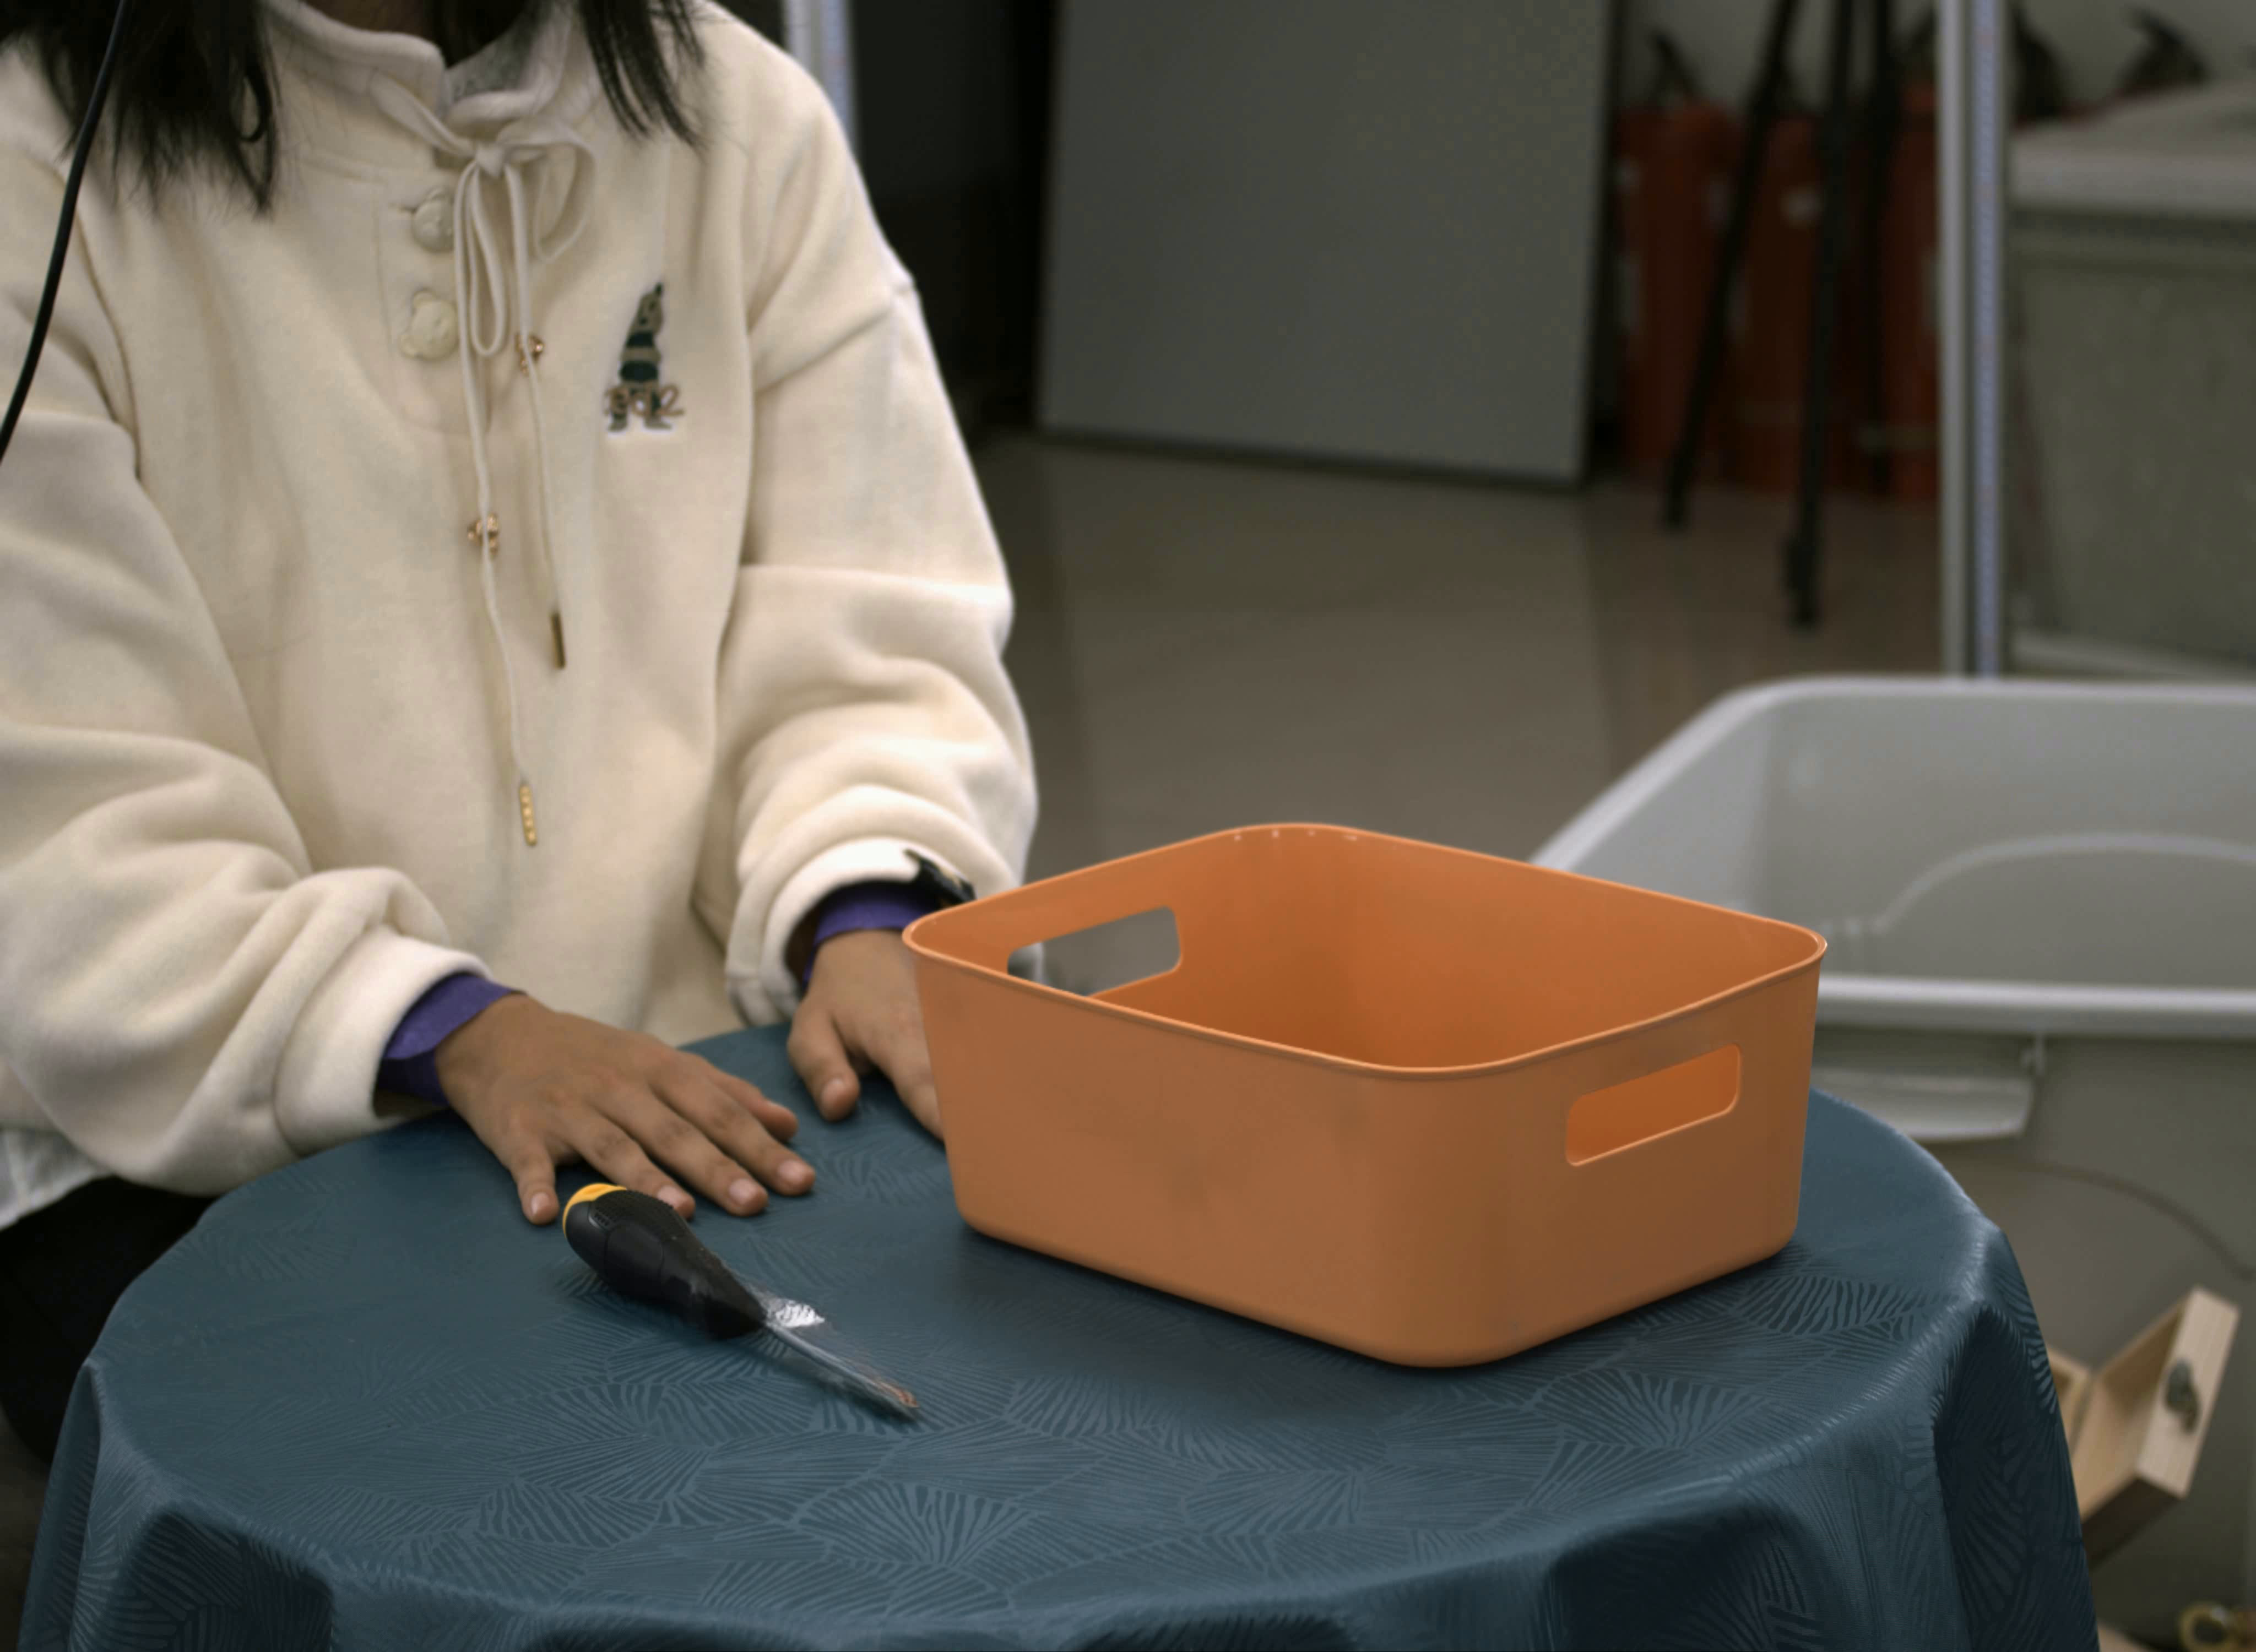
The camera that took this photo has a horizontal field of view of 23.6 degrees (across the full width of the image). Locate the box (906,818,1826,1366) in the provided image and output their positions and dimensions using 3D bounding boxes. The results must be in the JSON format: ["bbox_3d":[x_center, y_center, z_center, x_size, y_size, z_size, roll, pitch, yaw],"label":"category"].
[{"bbox_3d":[0.075,0.080,1.695,0.195,0.103,0.276,-16,18,-38],"label":"box"}]

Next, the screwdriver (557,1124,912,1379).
[{"bbox_3d":[-0.117,0.133,1.660,0.031,0.032,0.200,-13,25,-35],"label":"screwdriver"}]
